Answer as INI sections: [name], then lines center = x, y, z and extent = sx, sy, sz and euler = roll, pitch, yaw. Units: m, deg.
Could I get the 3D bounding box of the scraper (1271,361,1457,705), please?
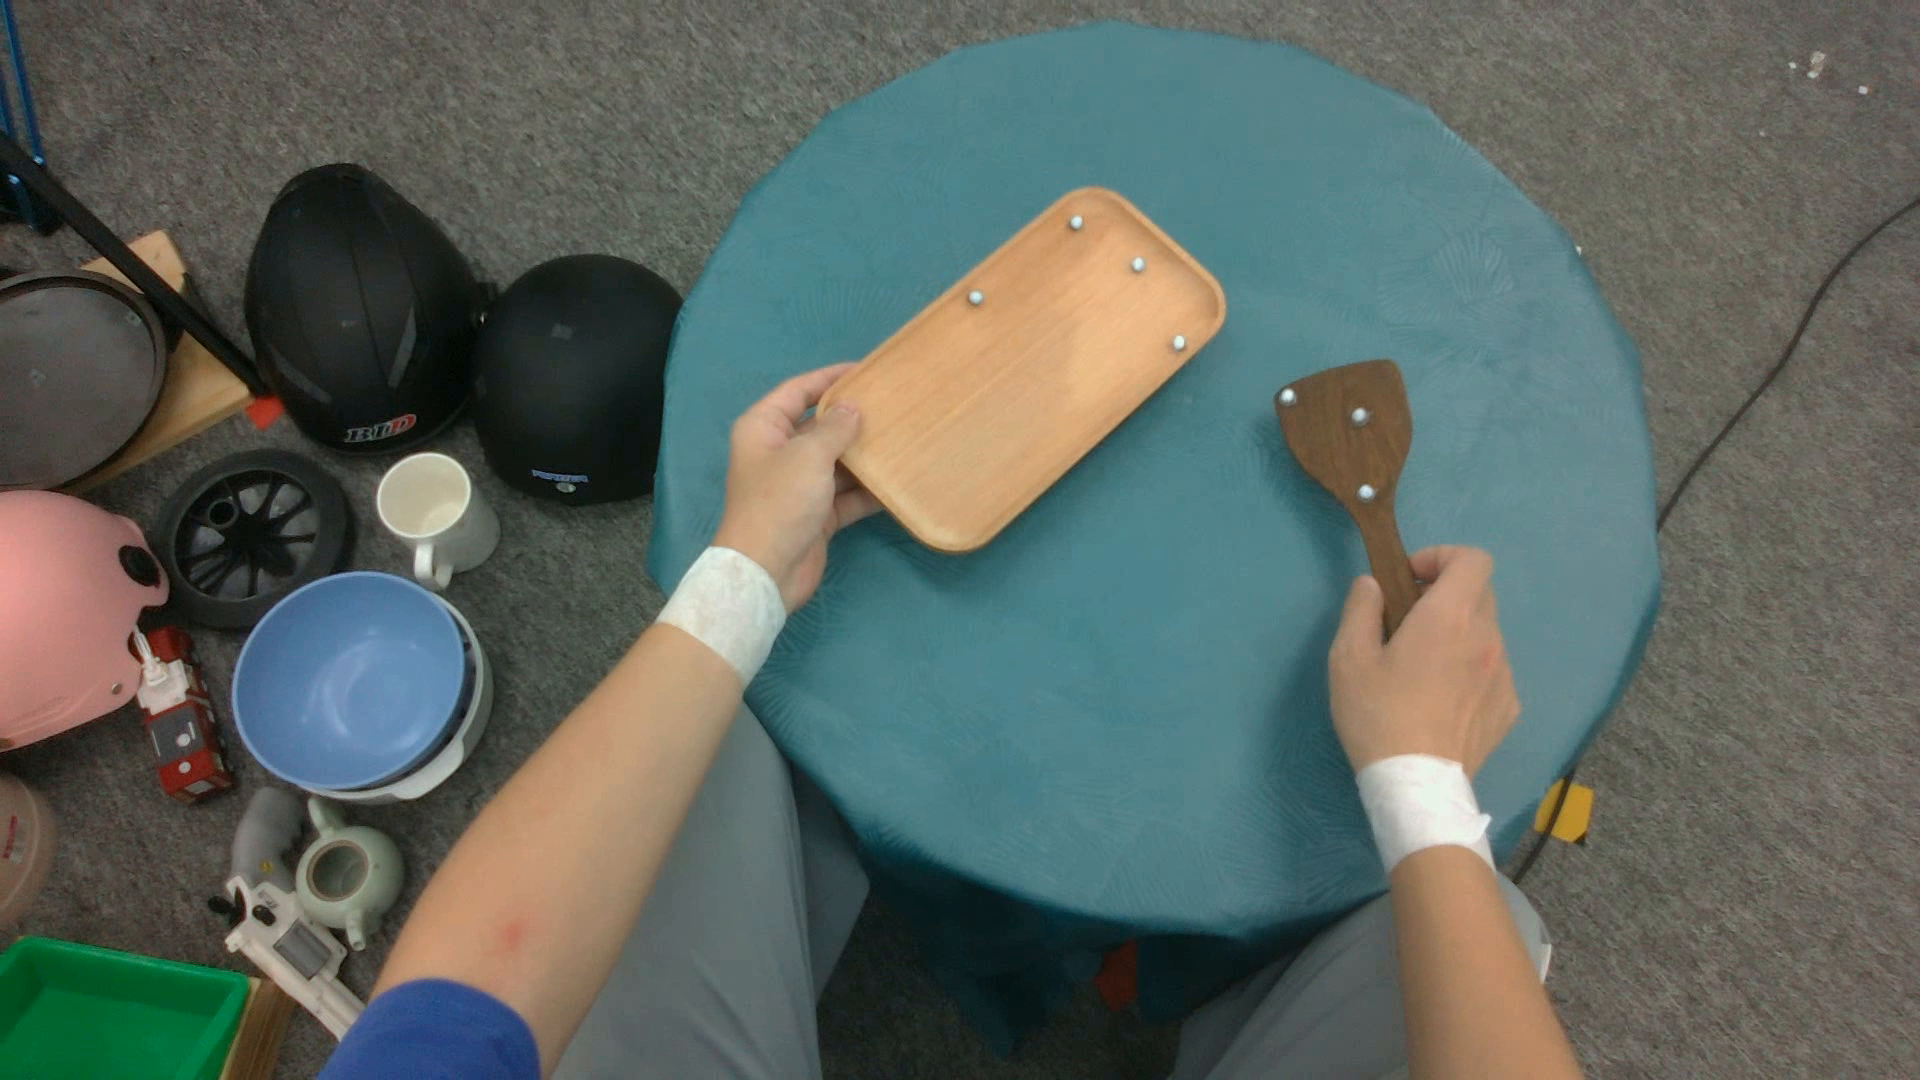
[scraper]
center = 0.238, -0.007, 0.784
extent = 0.076, 0.011, 0.212
euler = -14, 64, 9

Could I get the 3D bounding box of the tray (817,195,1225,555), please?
[tray]
center = 0.040, -0.102, 0.813
extent = 0.251, 0.023, 0.130
euler = -41, 75, -19
